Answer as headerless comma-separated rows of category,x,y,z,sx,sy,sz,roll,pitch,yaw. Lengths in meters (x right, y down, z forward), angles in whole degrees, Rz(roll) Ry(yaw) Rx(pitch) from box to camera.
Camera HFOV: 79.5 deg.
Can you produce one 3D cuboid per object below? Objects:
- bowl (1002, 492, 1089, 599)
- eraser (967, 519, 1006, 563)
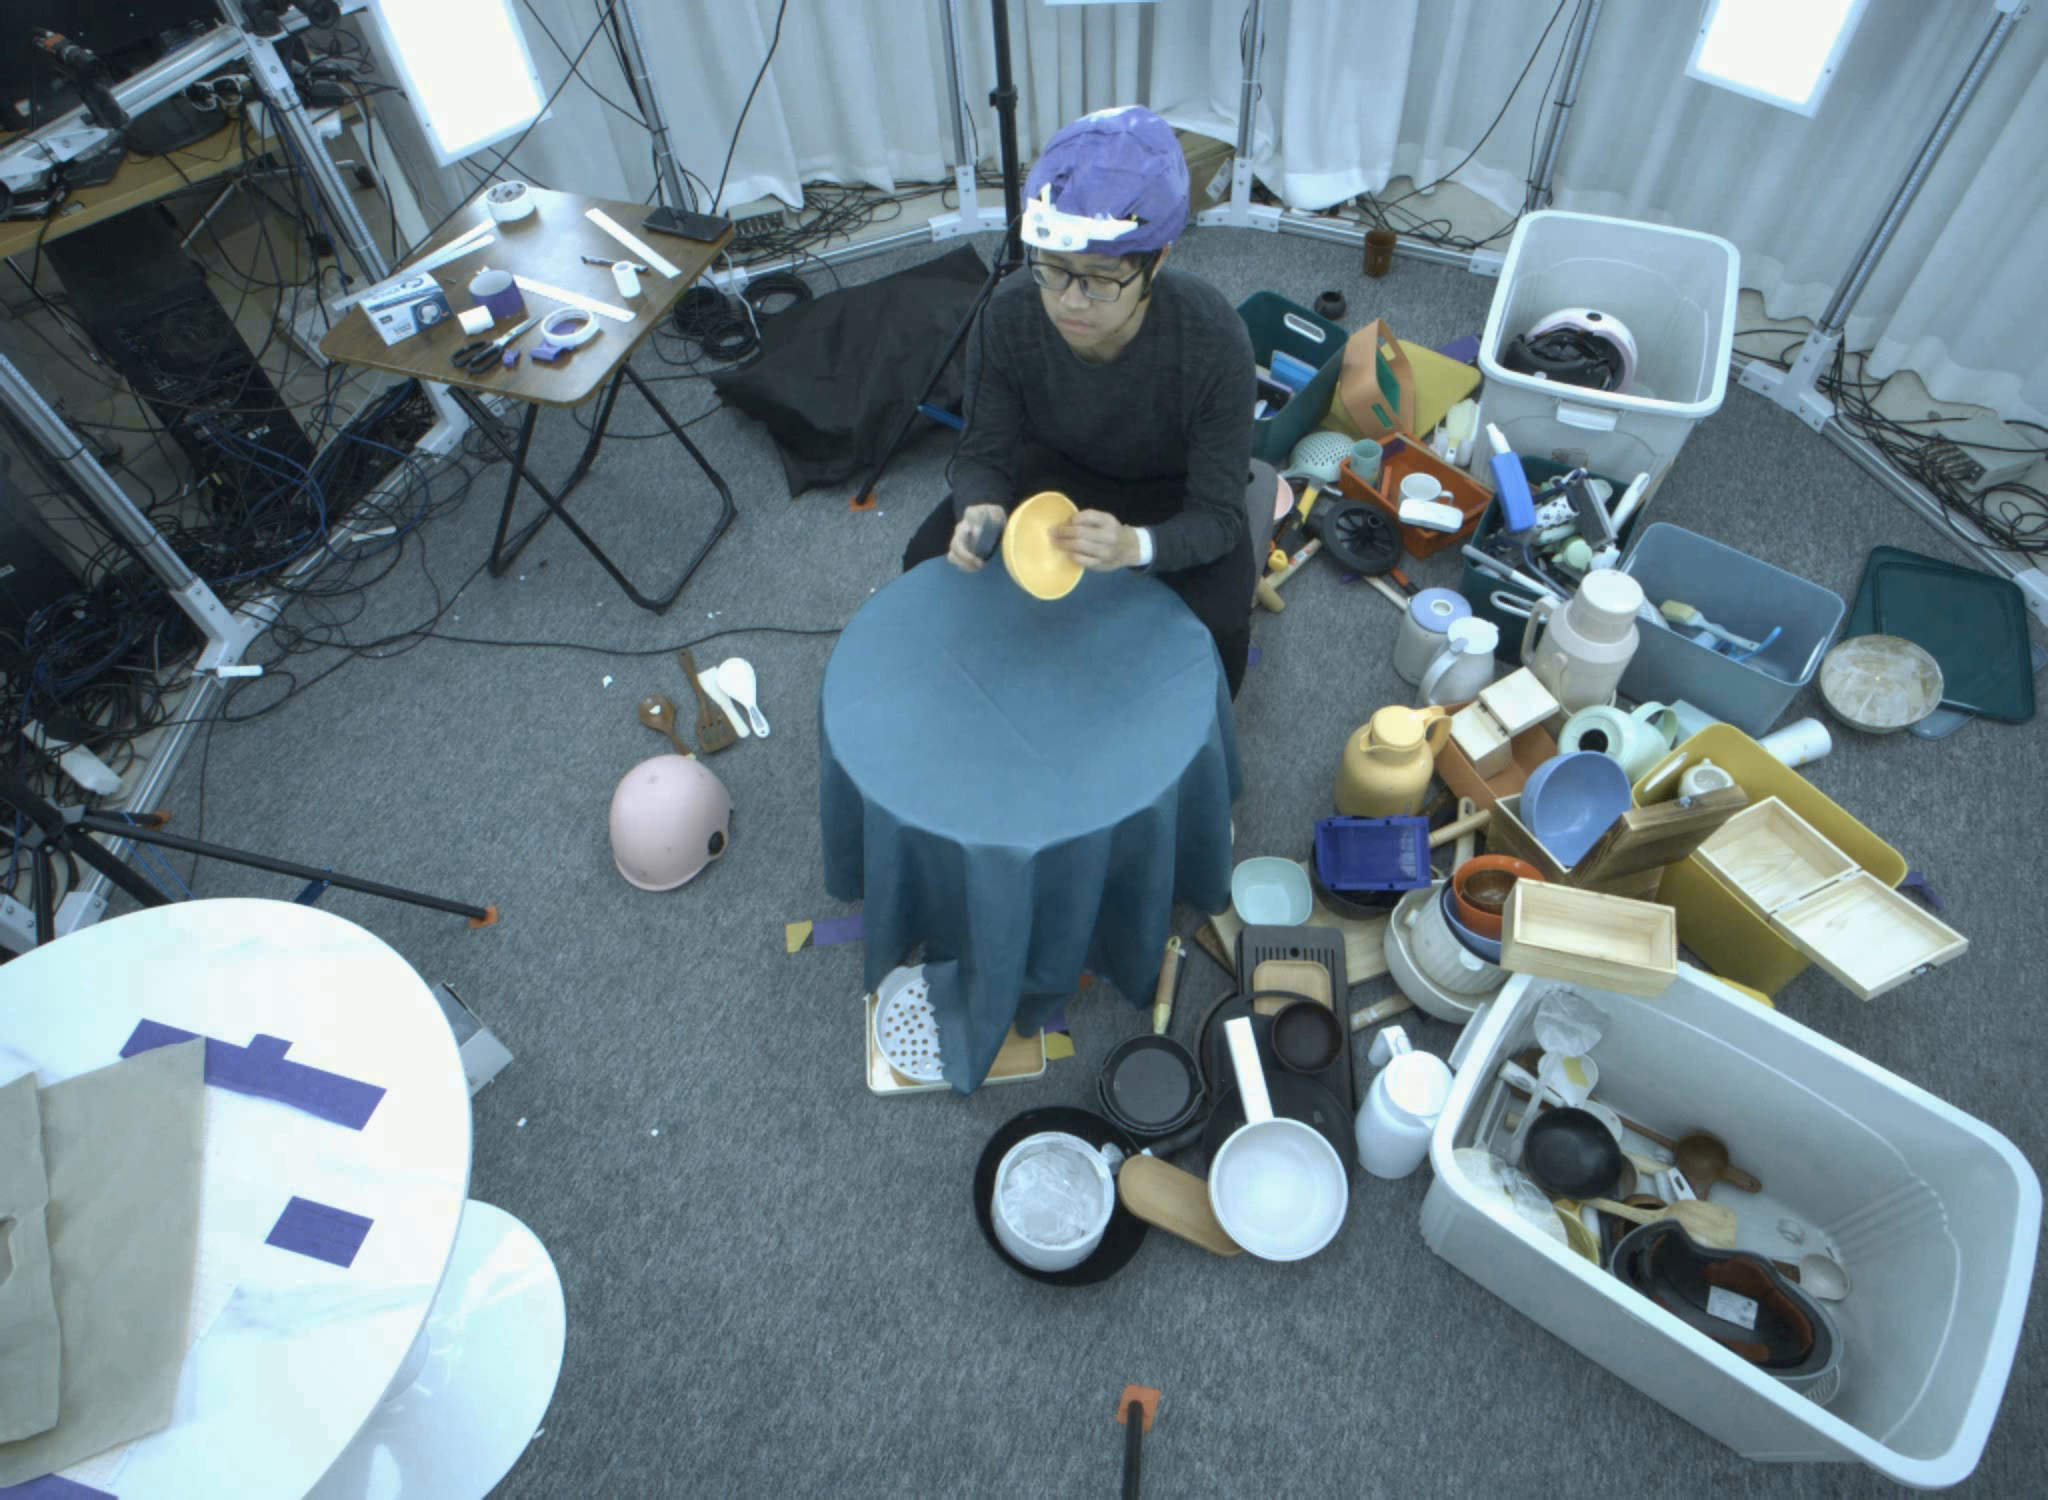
bowl,0.018,-0.283,1.693,0.059,0.148,0.146,14,52,47
eraser,-0.054,-0.291,1.709,0.031,0.124,0.053,26,93,-8
